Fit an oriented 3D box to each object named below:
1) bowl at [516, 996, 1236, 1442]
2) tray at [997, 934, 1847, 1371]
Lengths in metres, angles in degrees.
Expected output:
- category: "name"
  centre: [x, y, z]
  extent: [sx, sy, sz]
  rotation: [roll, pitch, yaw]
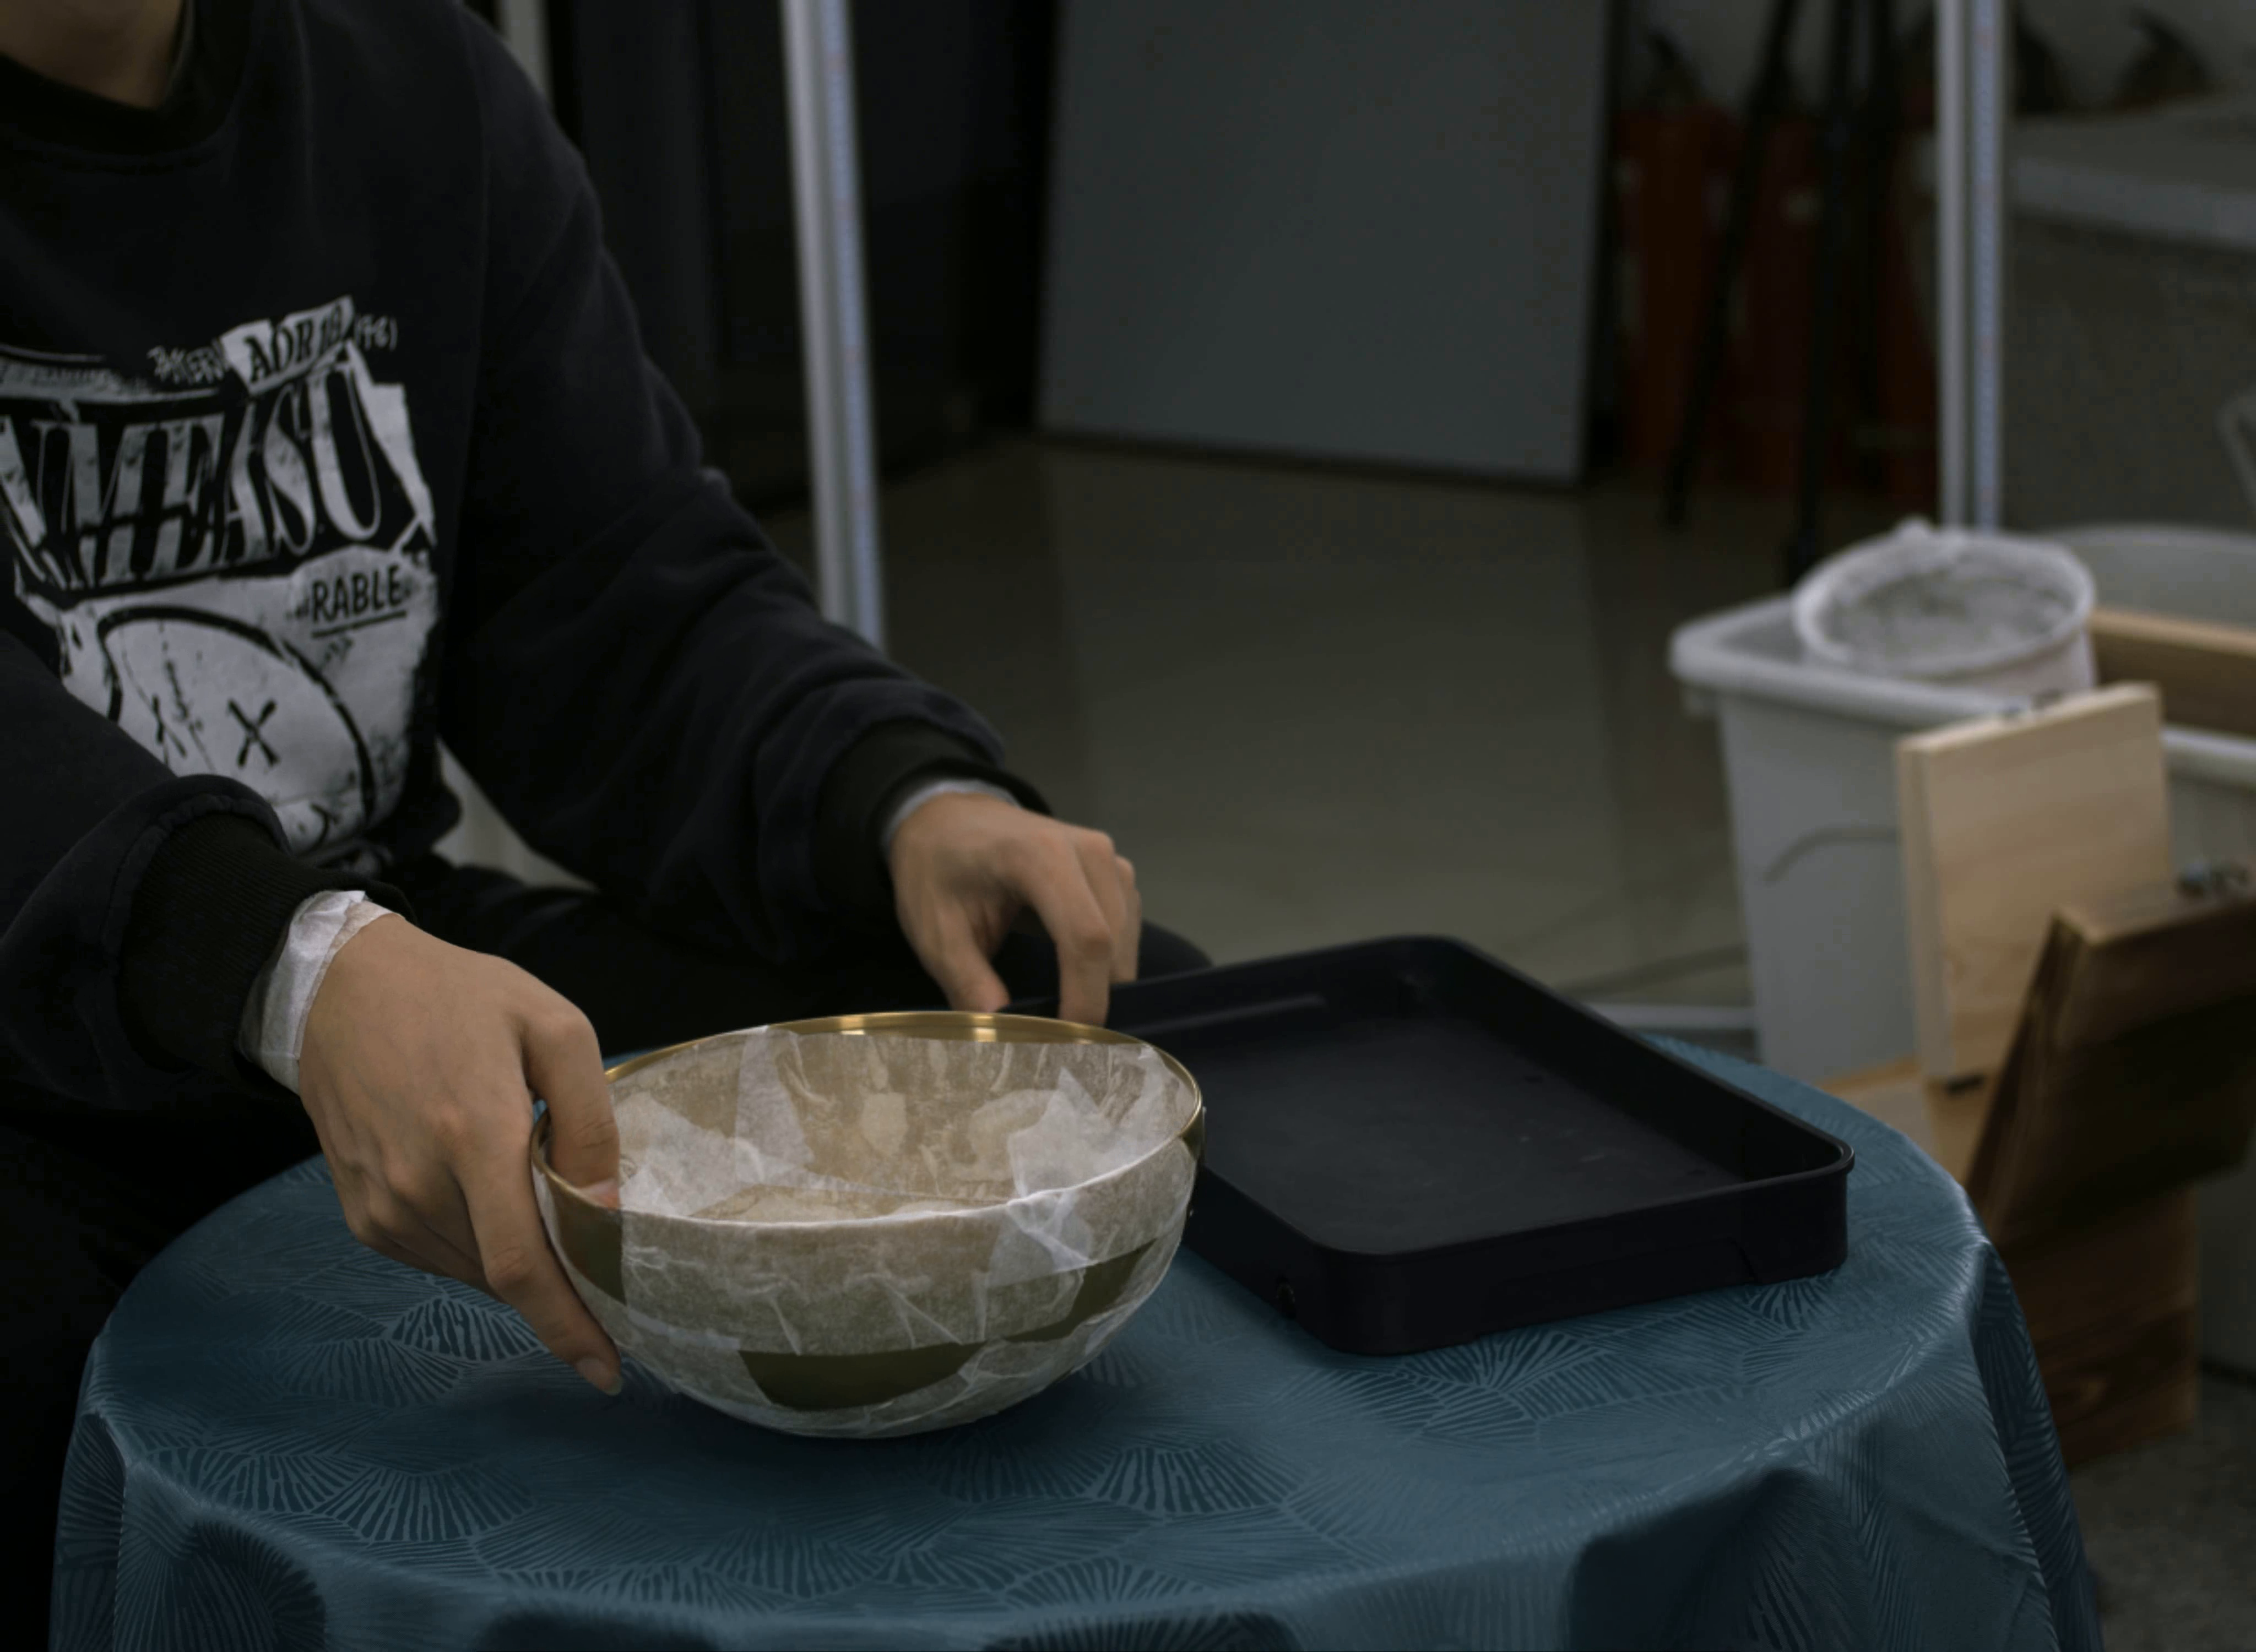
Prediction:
- category: "bowl"
  centre: [-0.072, 0.124, 1.587]
  extent: [0.212, 0.095, 0.215]
  rotation: [-5, 15, 0]
- category: "tray"
  centre: [0.088, 0.101, 1.760]
  extent: [0.180, 0.037, 0.321]
  rotation: [-8, 16, -19]
